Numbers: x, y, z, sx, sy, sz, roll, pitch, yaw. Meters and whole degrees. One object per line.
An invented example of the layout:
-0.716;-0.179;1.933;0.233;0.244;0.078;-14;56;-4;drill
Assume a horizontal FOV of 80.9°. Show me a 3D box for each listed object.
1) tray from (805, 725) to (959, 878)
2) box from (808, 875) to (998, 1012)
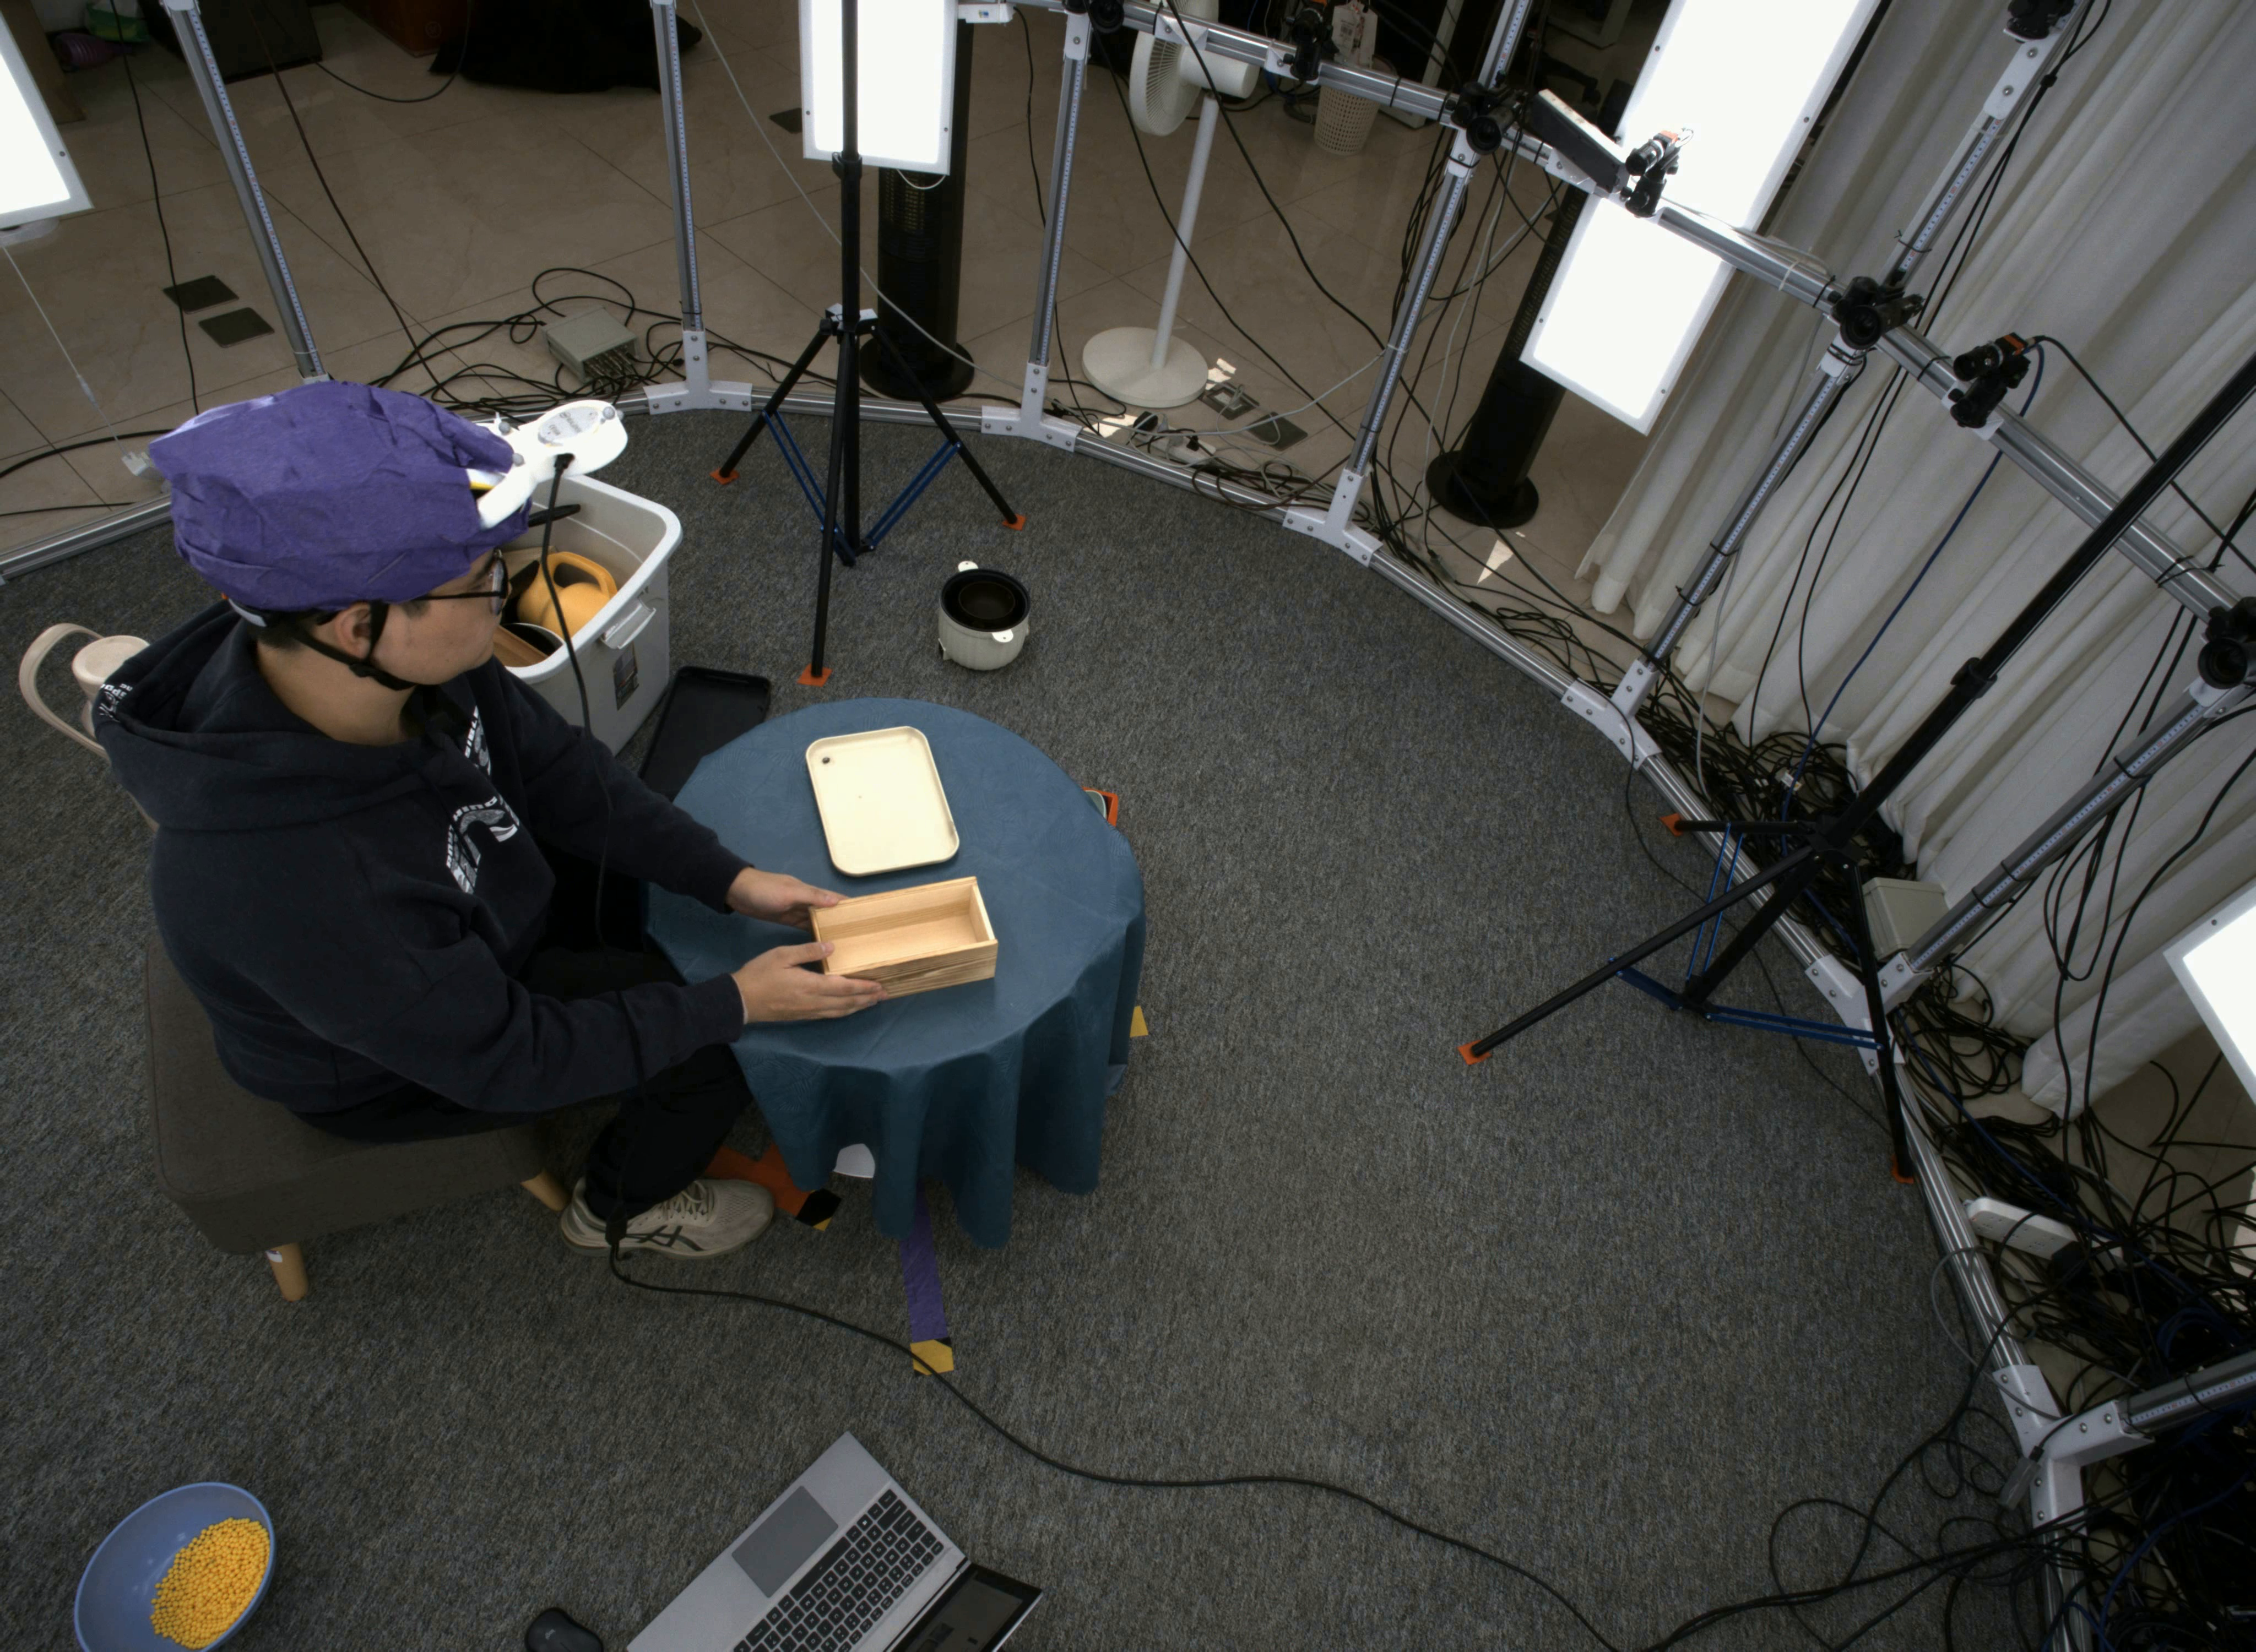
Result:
-0.334;-0.036;1.758;0.172;0.018;0.234;-10;57;-20;tray
-0.277;0.141;1.600;0.212;0.082;0.105;-11;56;-21;box
